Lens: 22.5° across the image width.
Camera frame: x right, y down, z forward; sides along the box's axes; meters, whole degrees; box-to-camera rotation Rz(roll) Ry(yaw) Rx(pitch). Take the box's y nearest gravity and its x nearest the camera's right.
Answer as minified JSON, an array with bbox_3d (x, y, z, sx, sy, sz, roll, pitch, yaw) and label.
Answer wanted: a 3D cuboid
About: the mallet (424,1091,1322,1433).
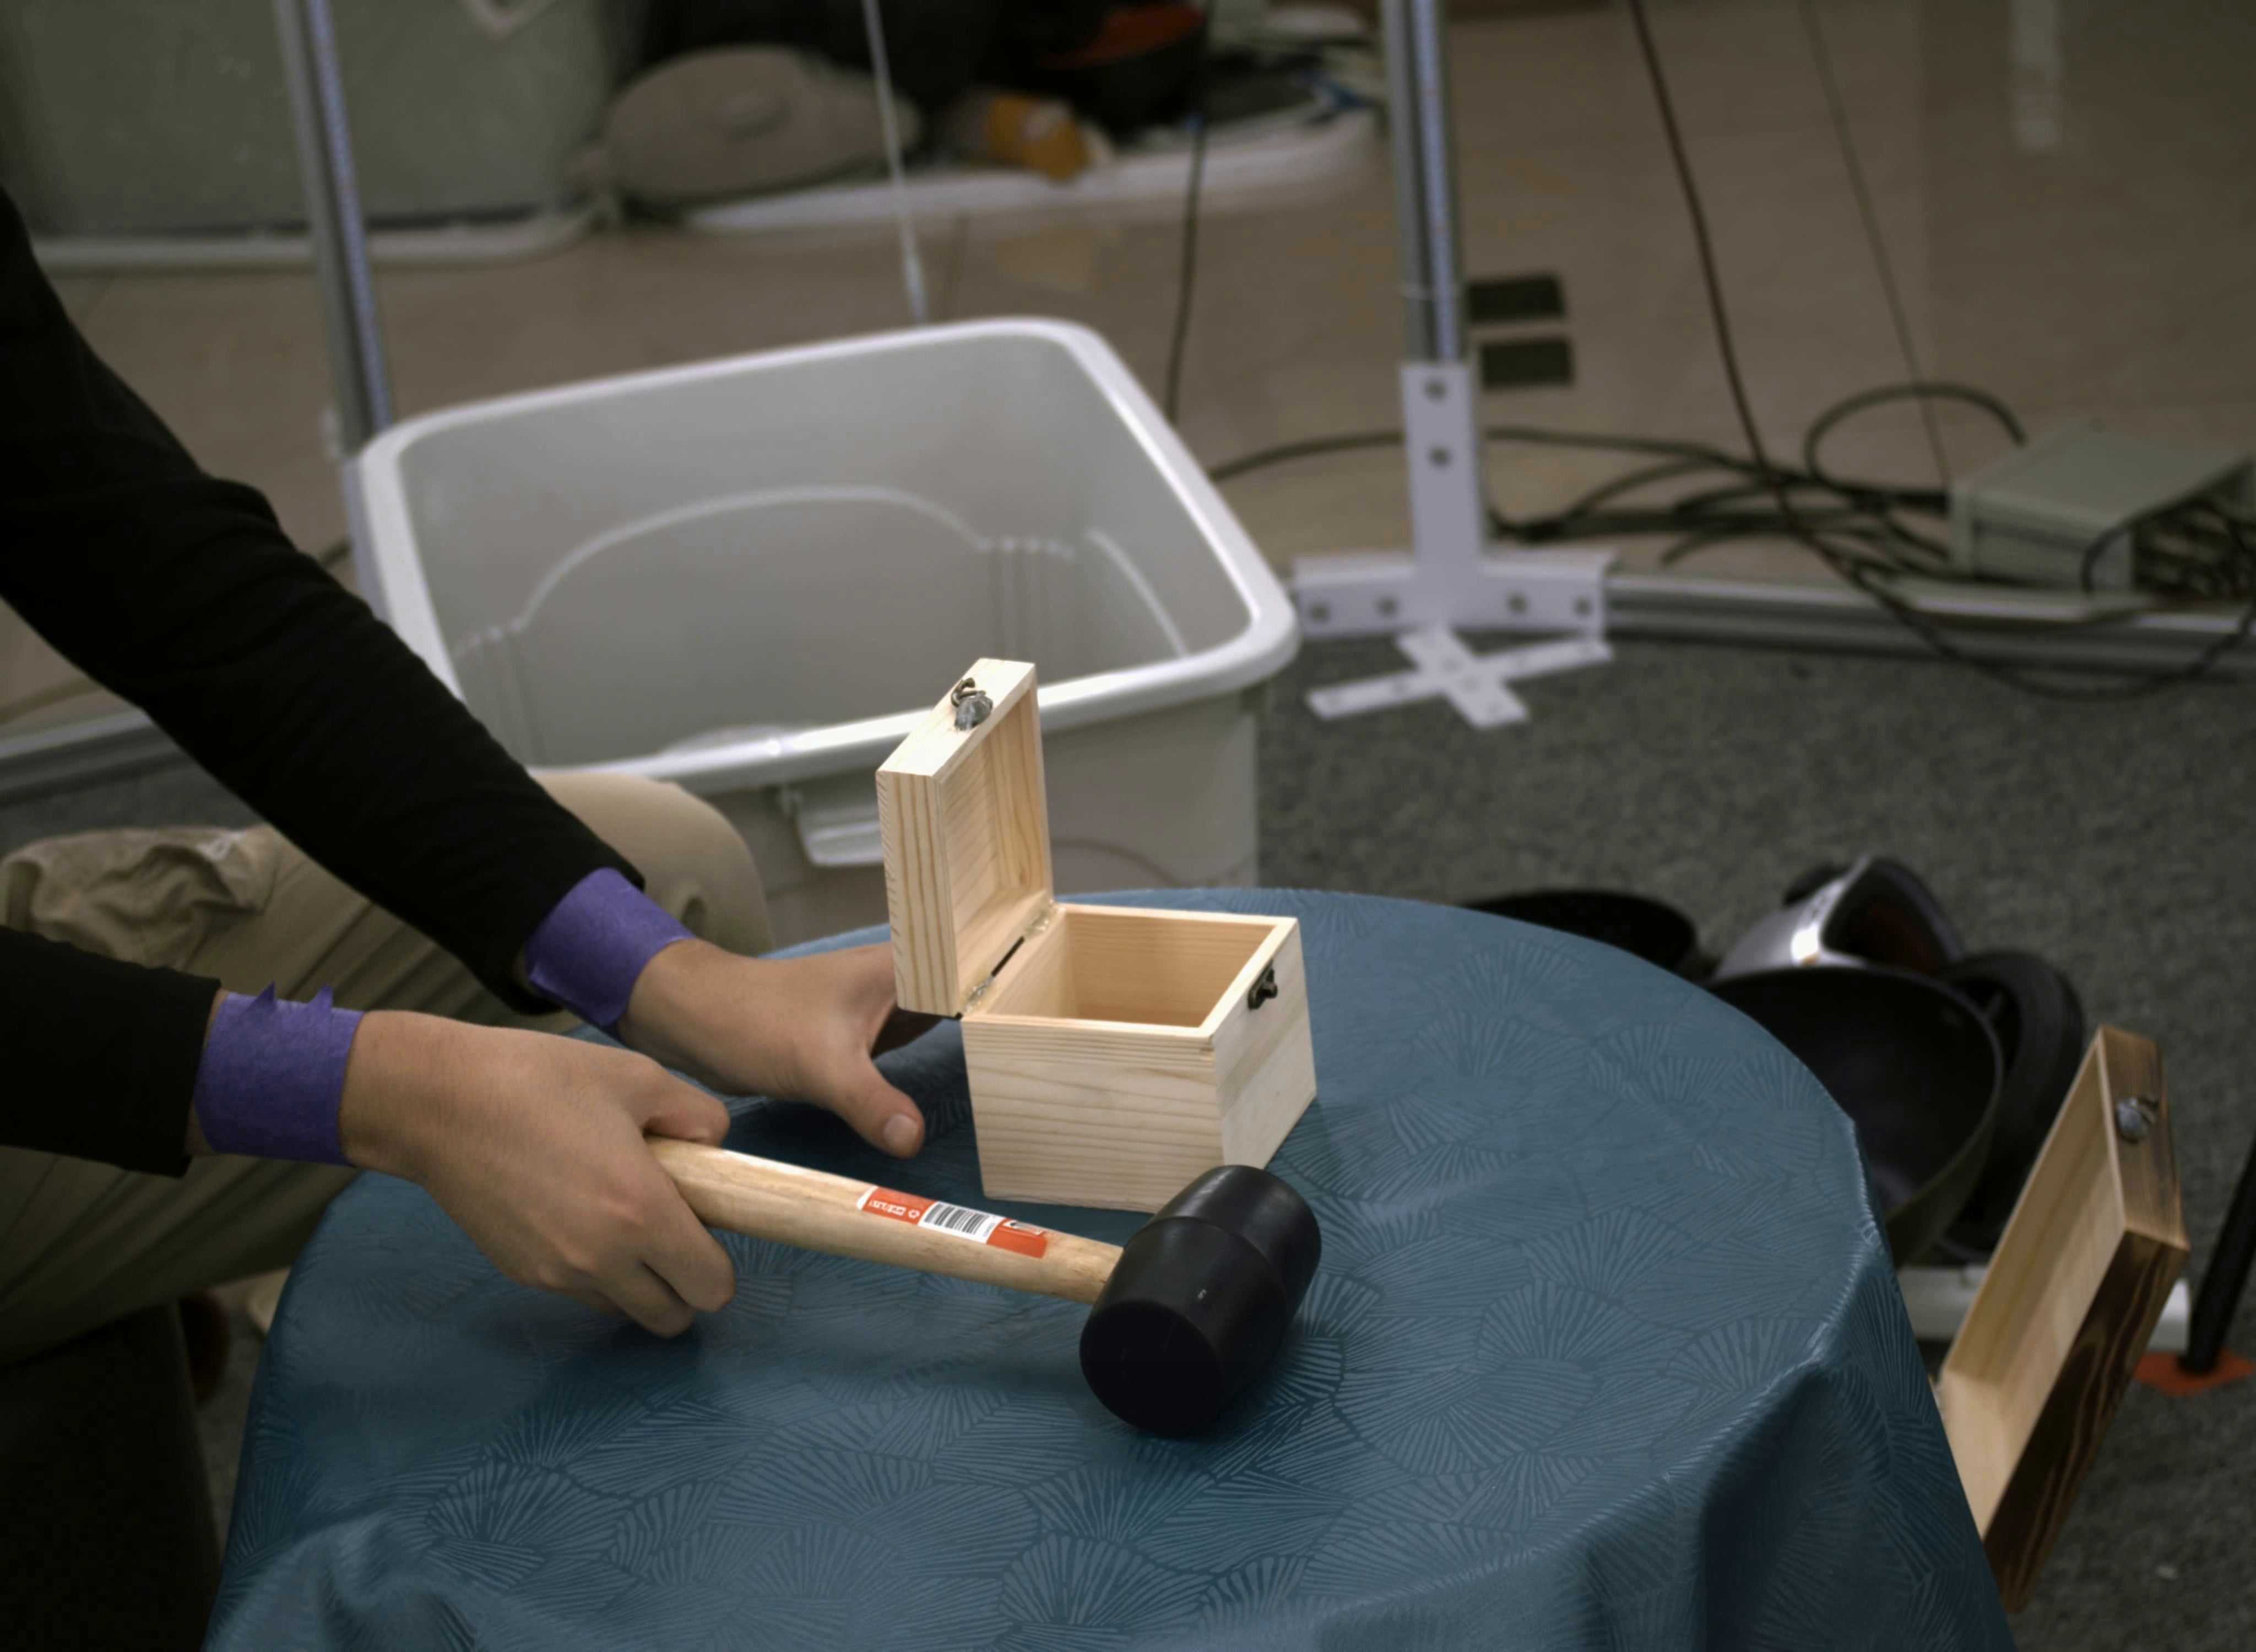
[{"bbox_3d":[-0.100,0.136,2.050,0.337,0.065,0.100,14,28,19],"label":"mallet"}]

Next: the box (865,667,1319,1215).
[{"bbox_3d":[-0.010,0.042,2.144,0.133,0.187,0.101,2,26,22],"label":"box"}]
